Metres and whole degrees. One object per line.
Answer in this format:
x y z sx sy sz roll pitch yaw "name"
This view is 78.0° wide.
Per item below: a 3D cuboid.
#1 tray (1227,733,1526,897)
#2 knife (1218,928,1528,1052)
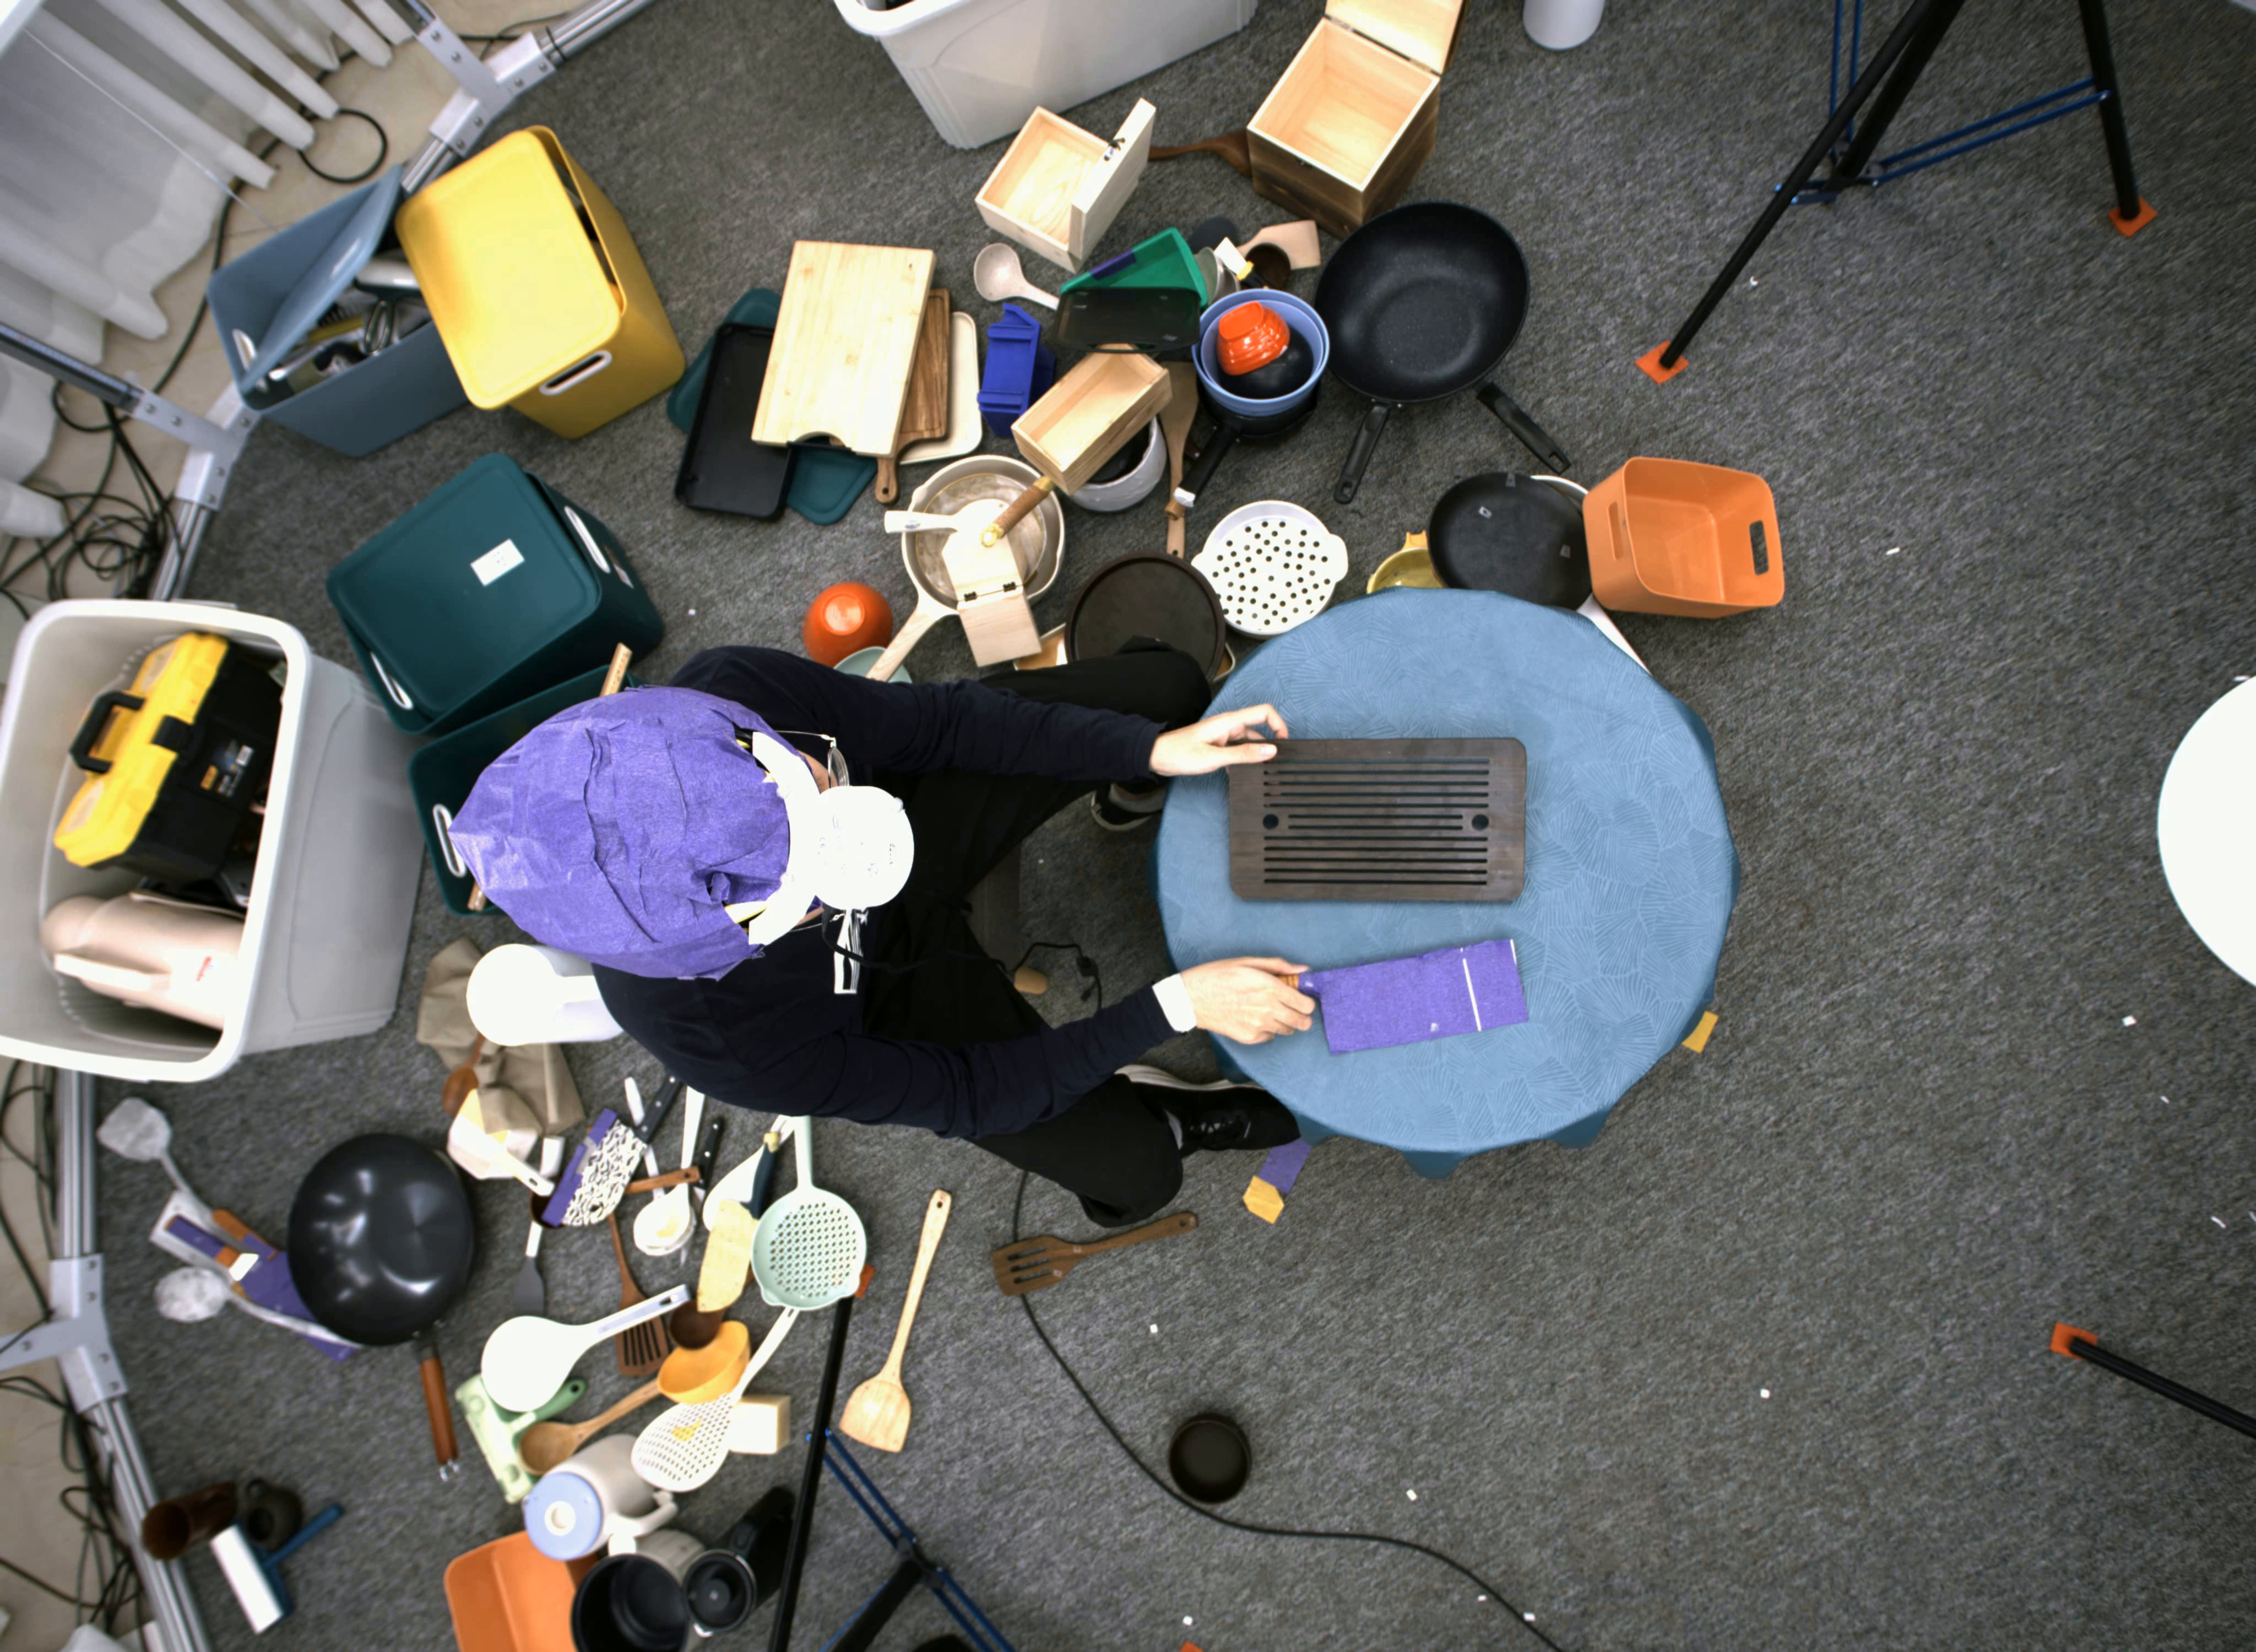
0.257 -0.012 1.438 0.307 0.018 0.171 0 101 11 "tray"
0.255 0.184 1.441 0.317 0.032 0.104 -12 93 11 "knife"
